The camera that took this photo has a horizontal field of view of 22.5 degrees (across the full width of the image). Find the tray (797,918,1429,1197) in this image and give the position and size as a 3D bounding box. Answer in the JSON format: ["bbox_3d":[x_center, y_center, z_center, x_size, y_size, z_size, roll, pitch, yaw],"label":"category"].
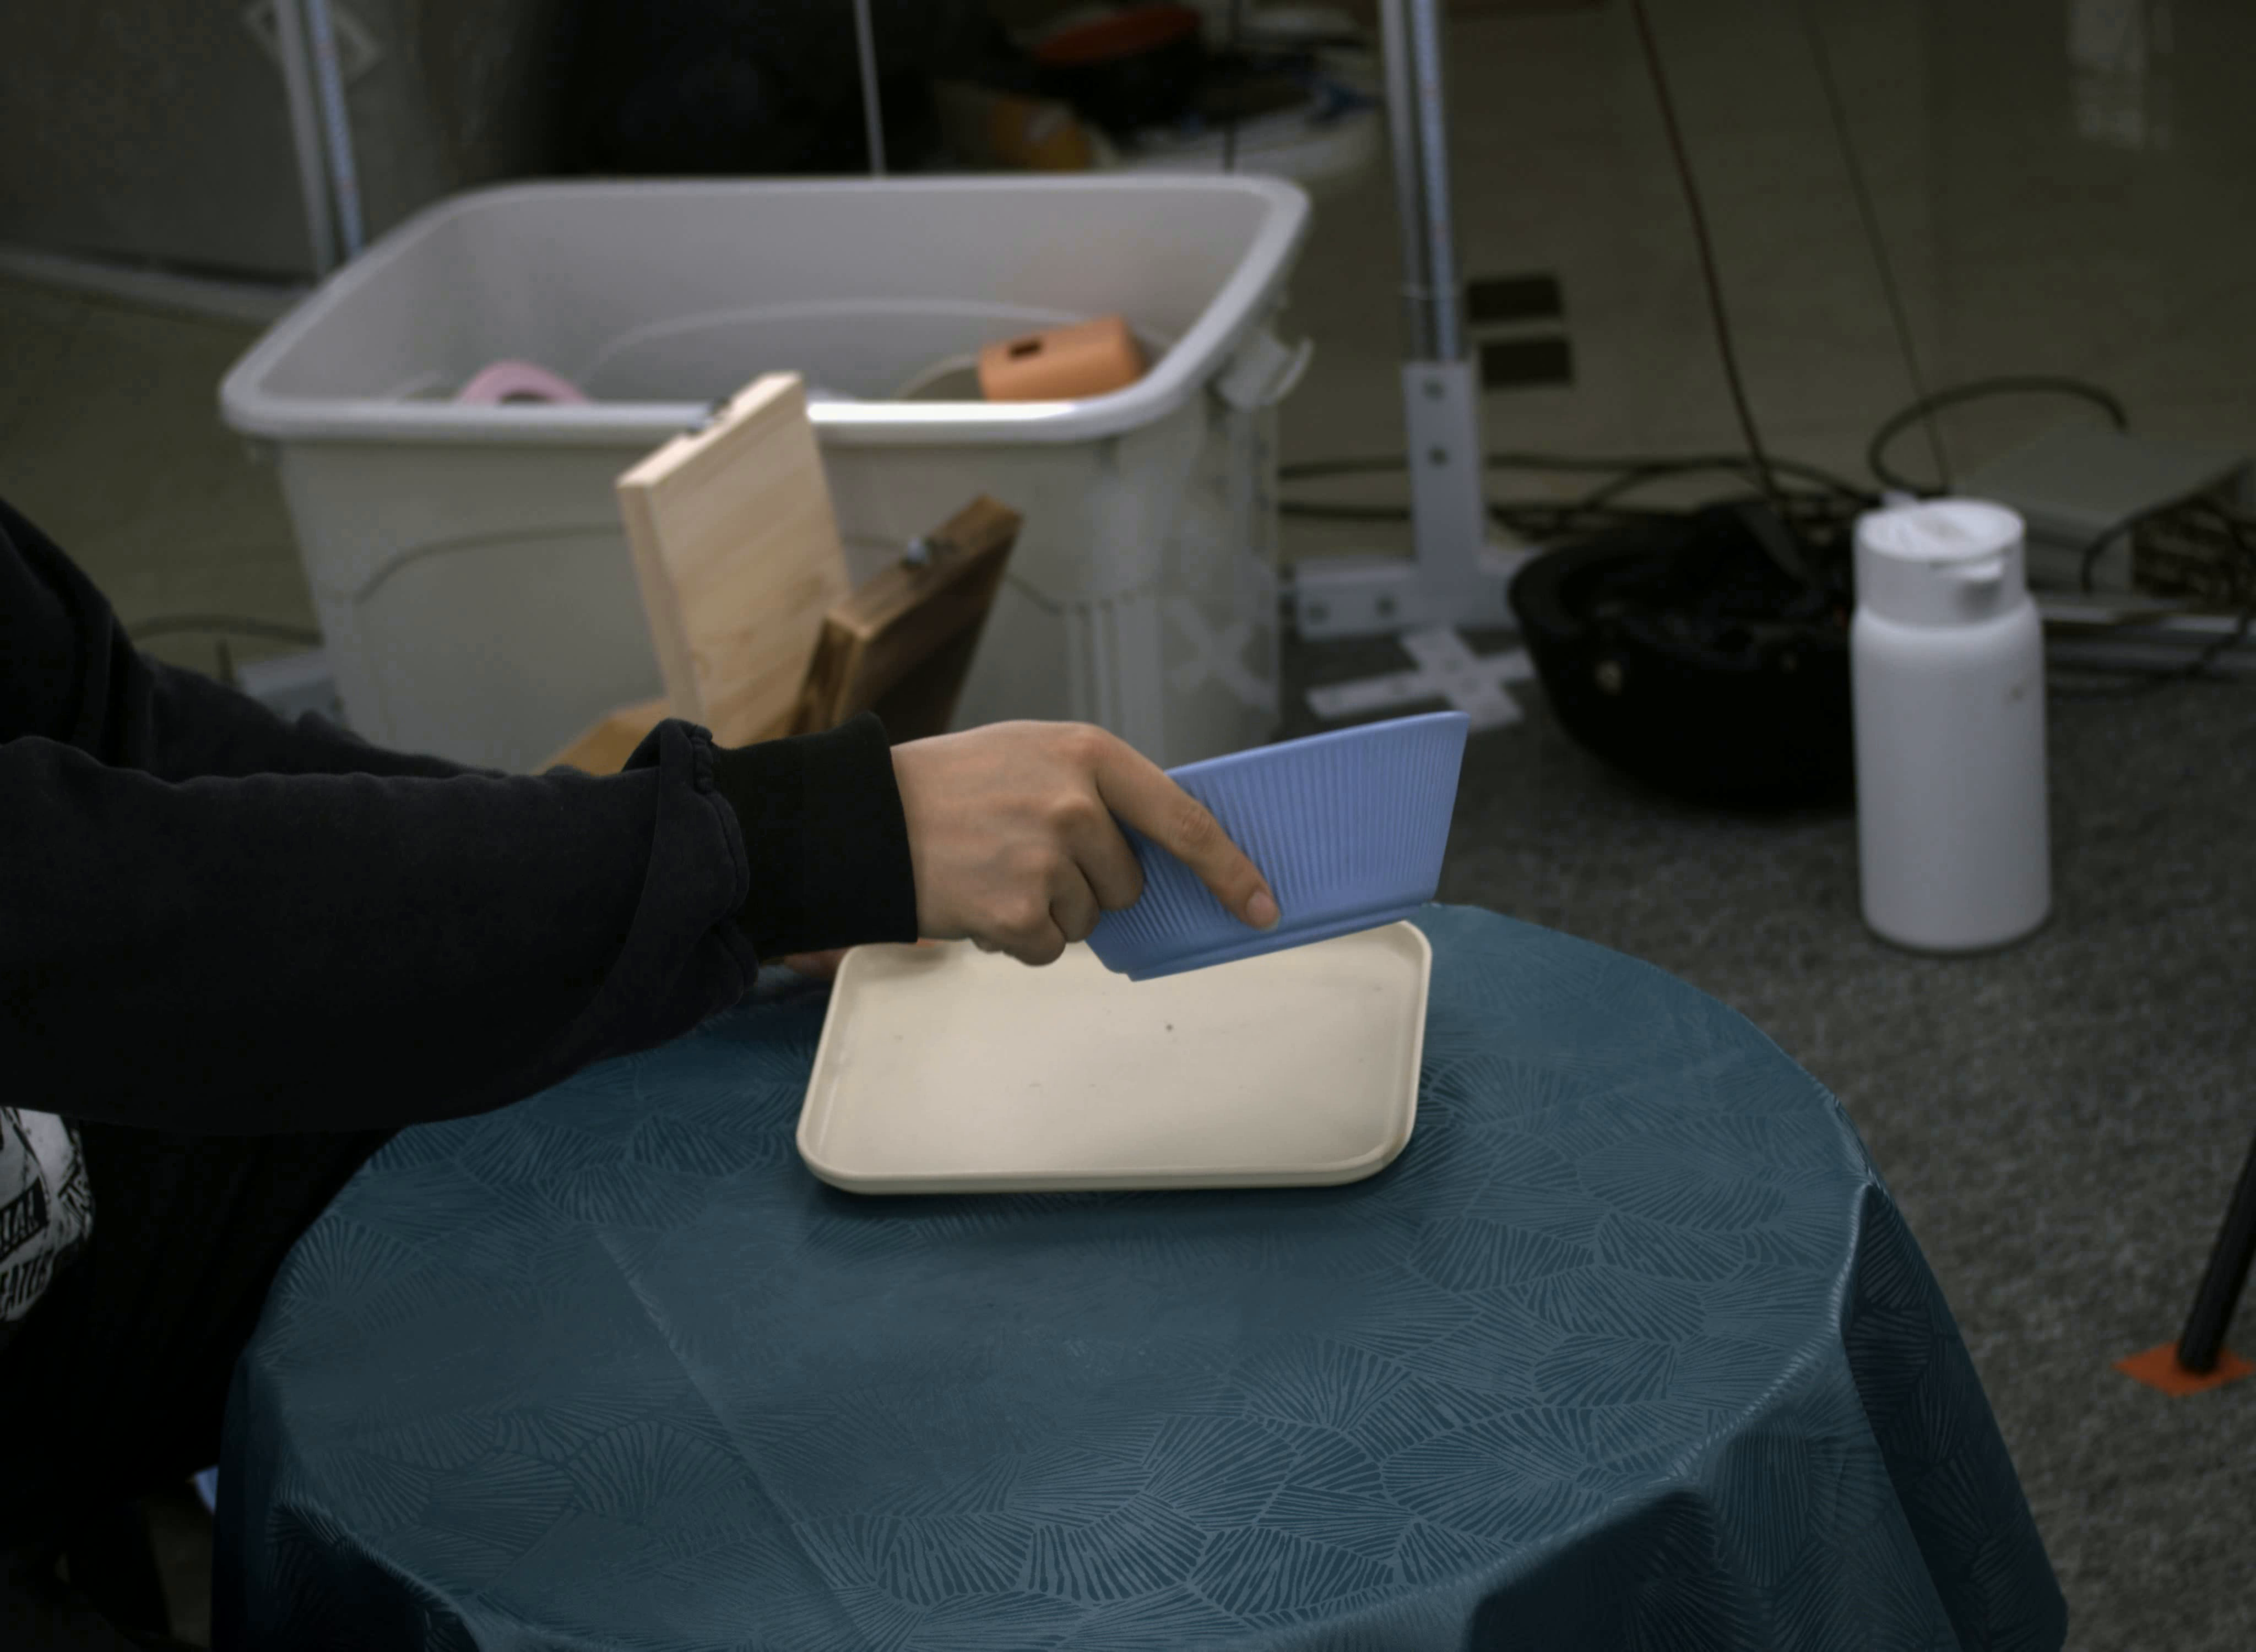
[{"bbox_3d":[-0.003,0.091,2.209,0.239,0.018,0.168,-2,33,8],"label":"tray"}]

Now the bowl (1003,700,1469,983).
[{"bbox_3d":[0.046,0.010,2.051,0.176,0.070,0.176,-14,-4,-1],"label":"bowl"}]
